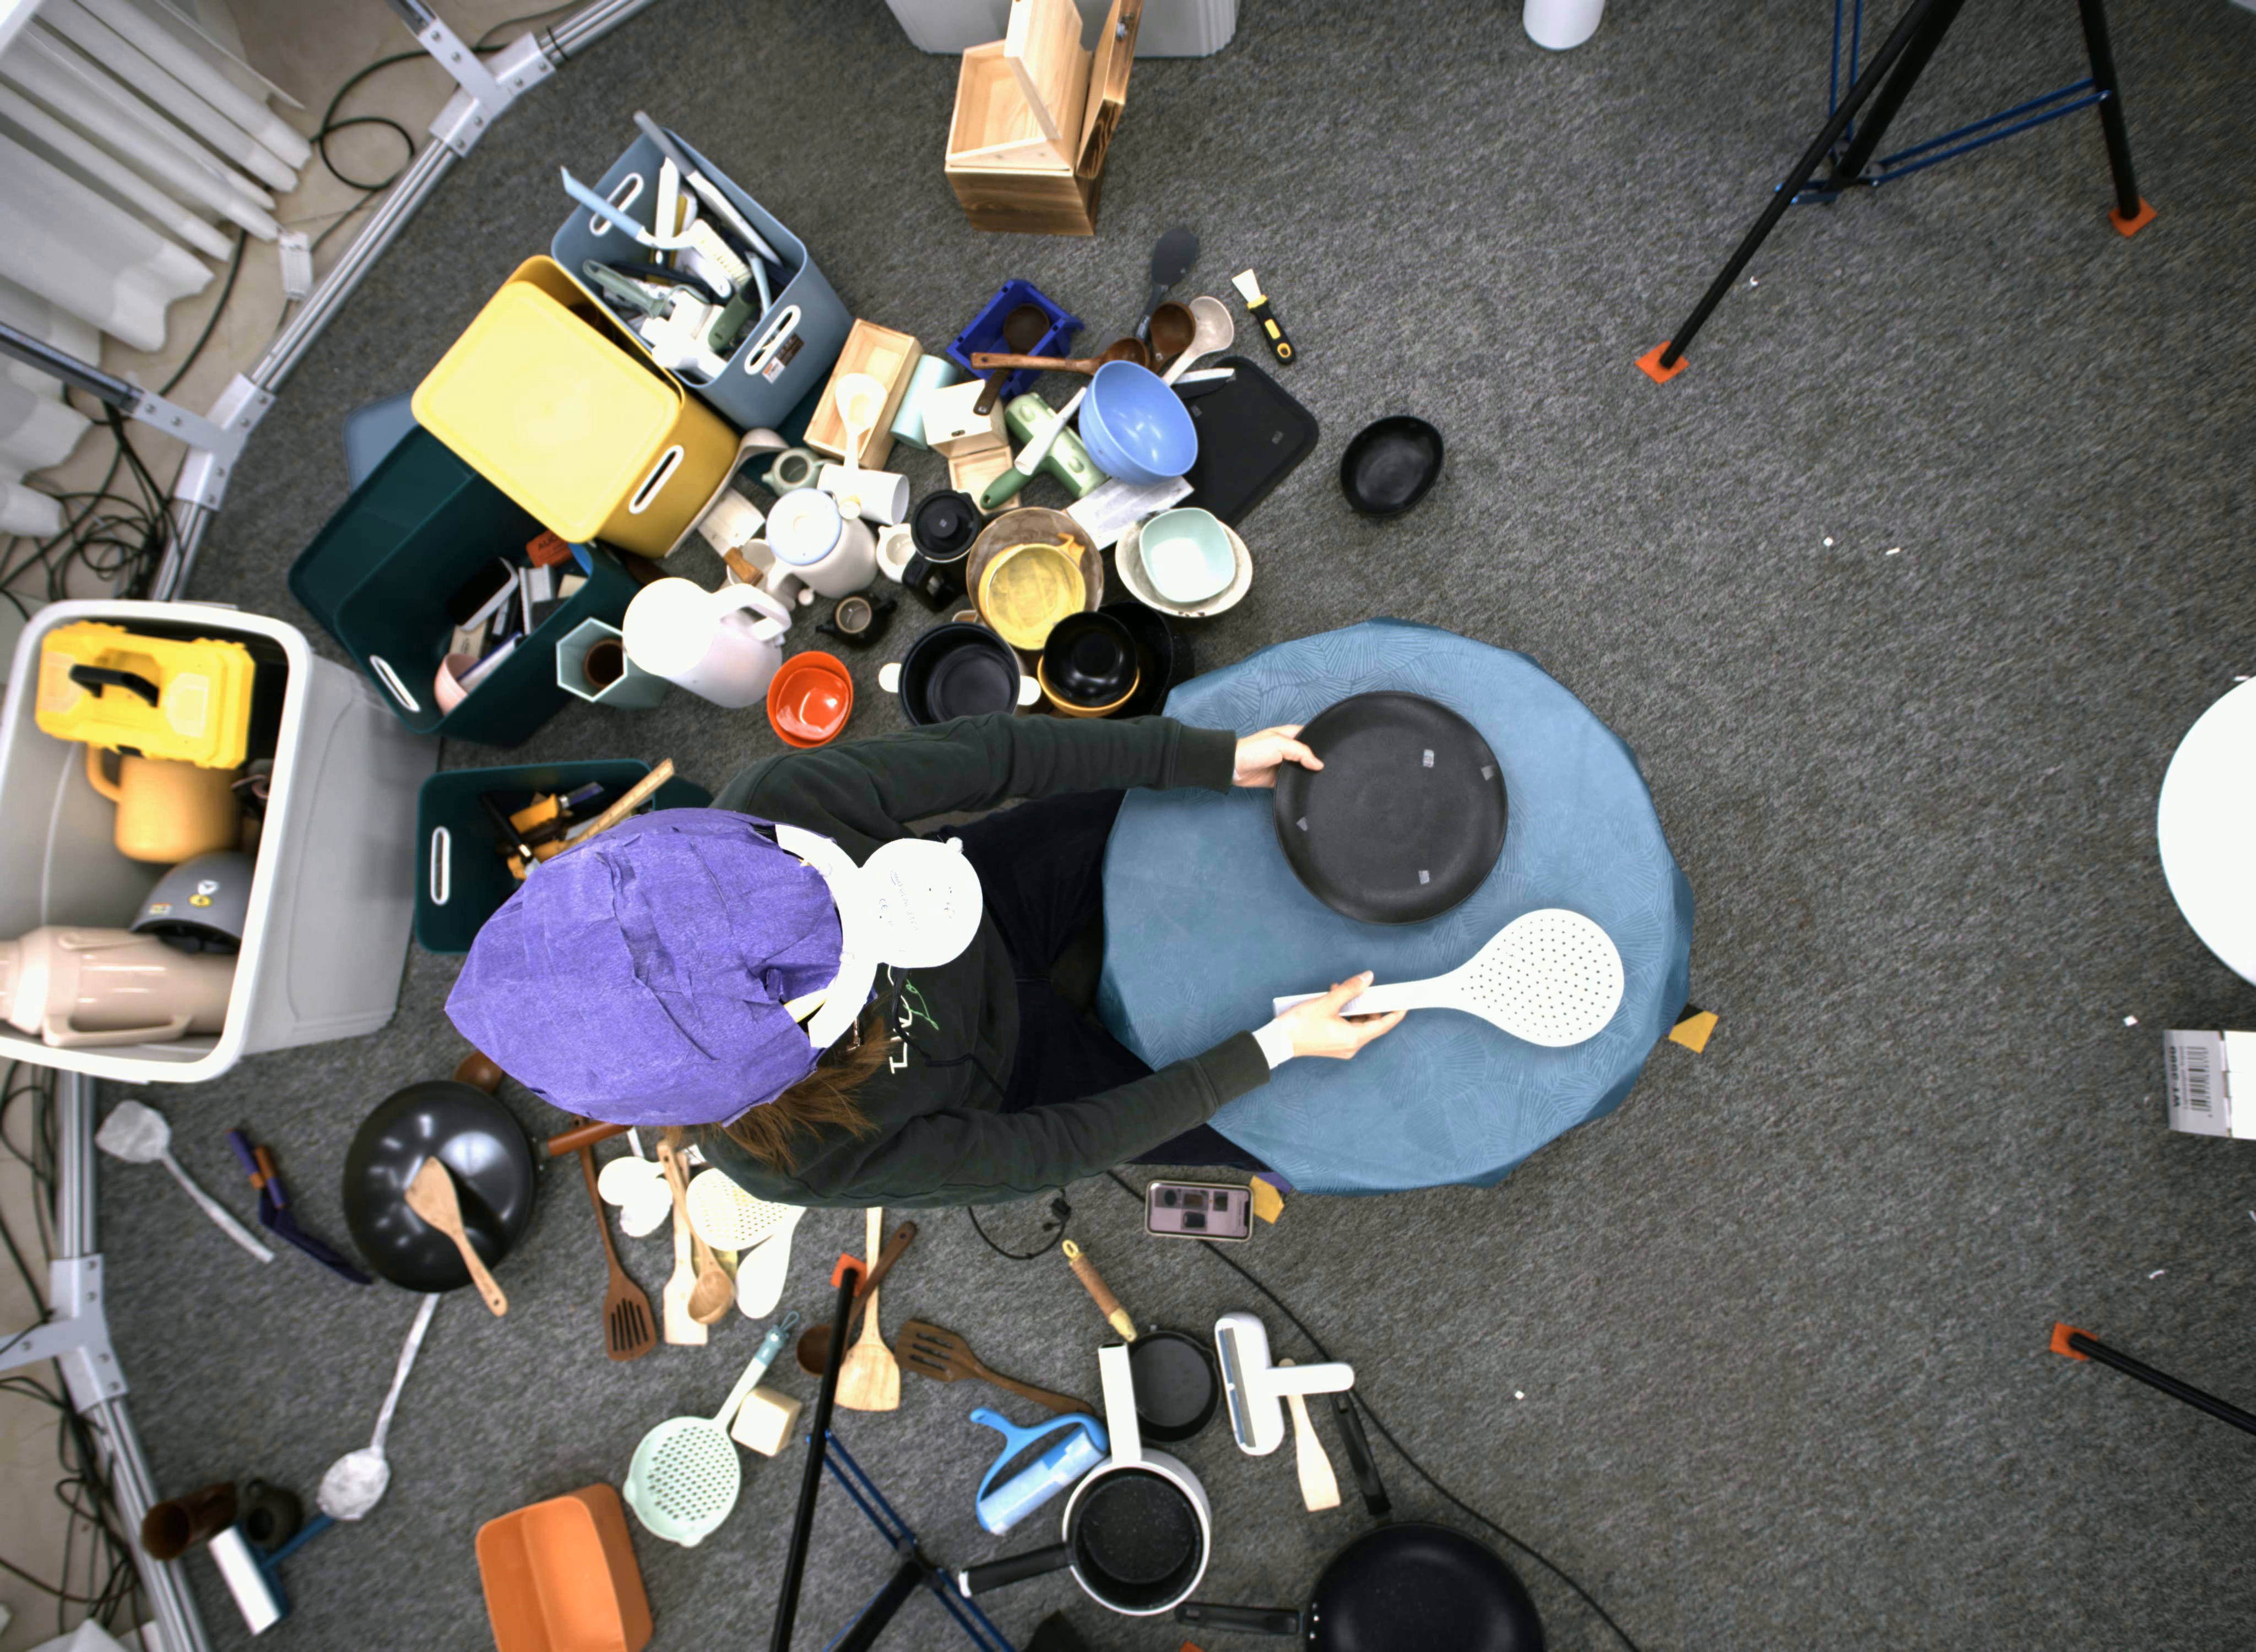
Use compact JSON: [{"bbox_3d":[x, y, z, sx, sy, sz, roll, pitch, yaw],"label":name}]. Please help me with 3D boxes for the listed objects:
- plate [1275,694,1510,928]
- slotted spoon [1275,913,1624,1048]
[{"bbox_3d":[0.272,-0.017,1.424,0.245,0.023,0.243,0,87,0],"label":"plate"},{"bbox_3d":[0.325,0.168,1.404,0.350,0.046,0.135,-7,82,1],"label":"slotted spoon"}]
